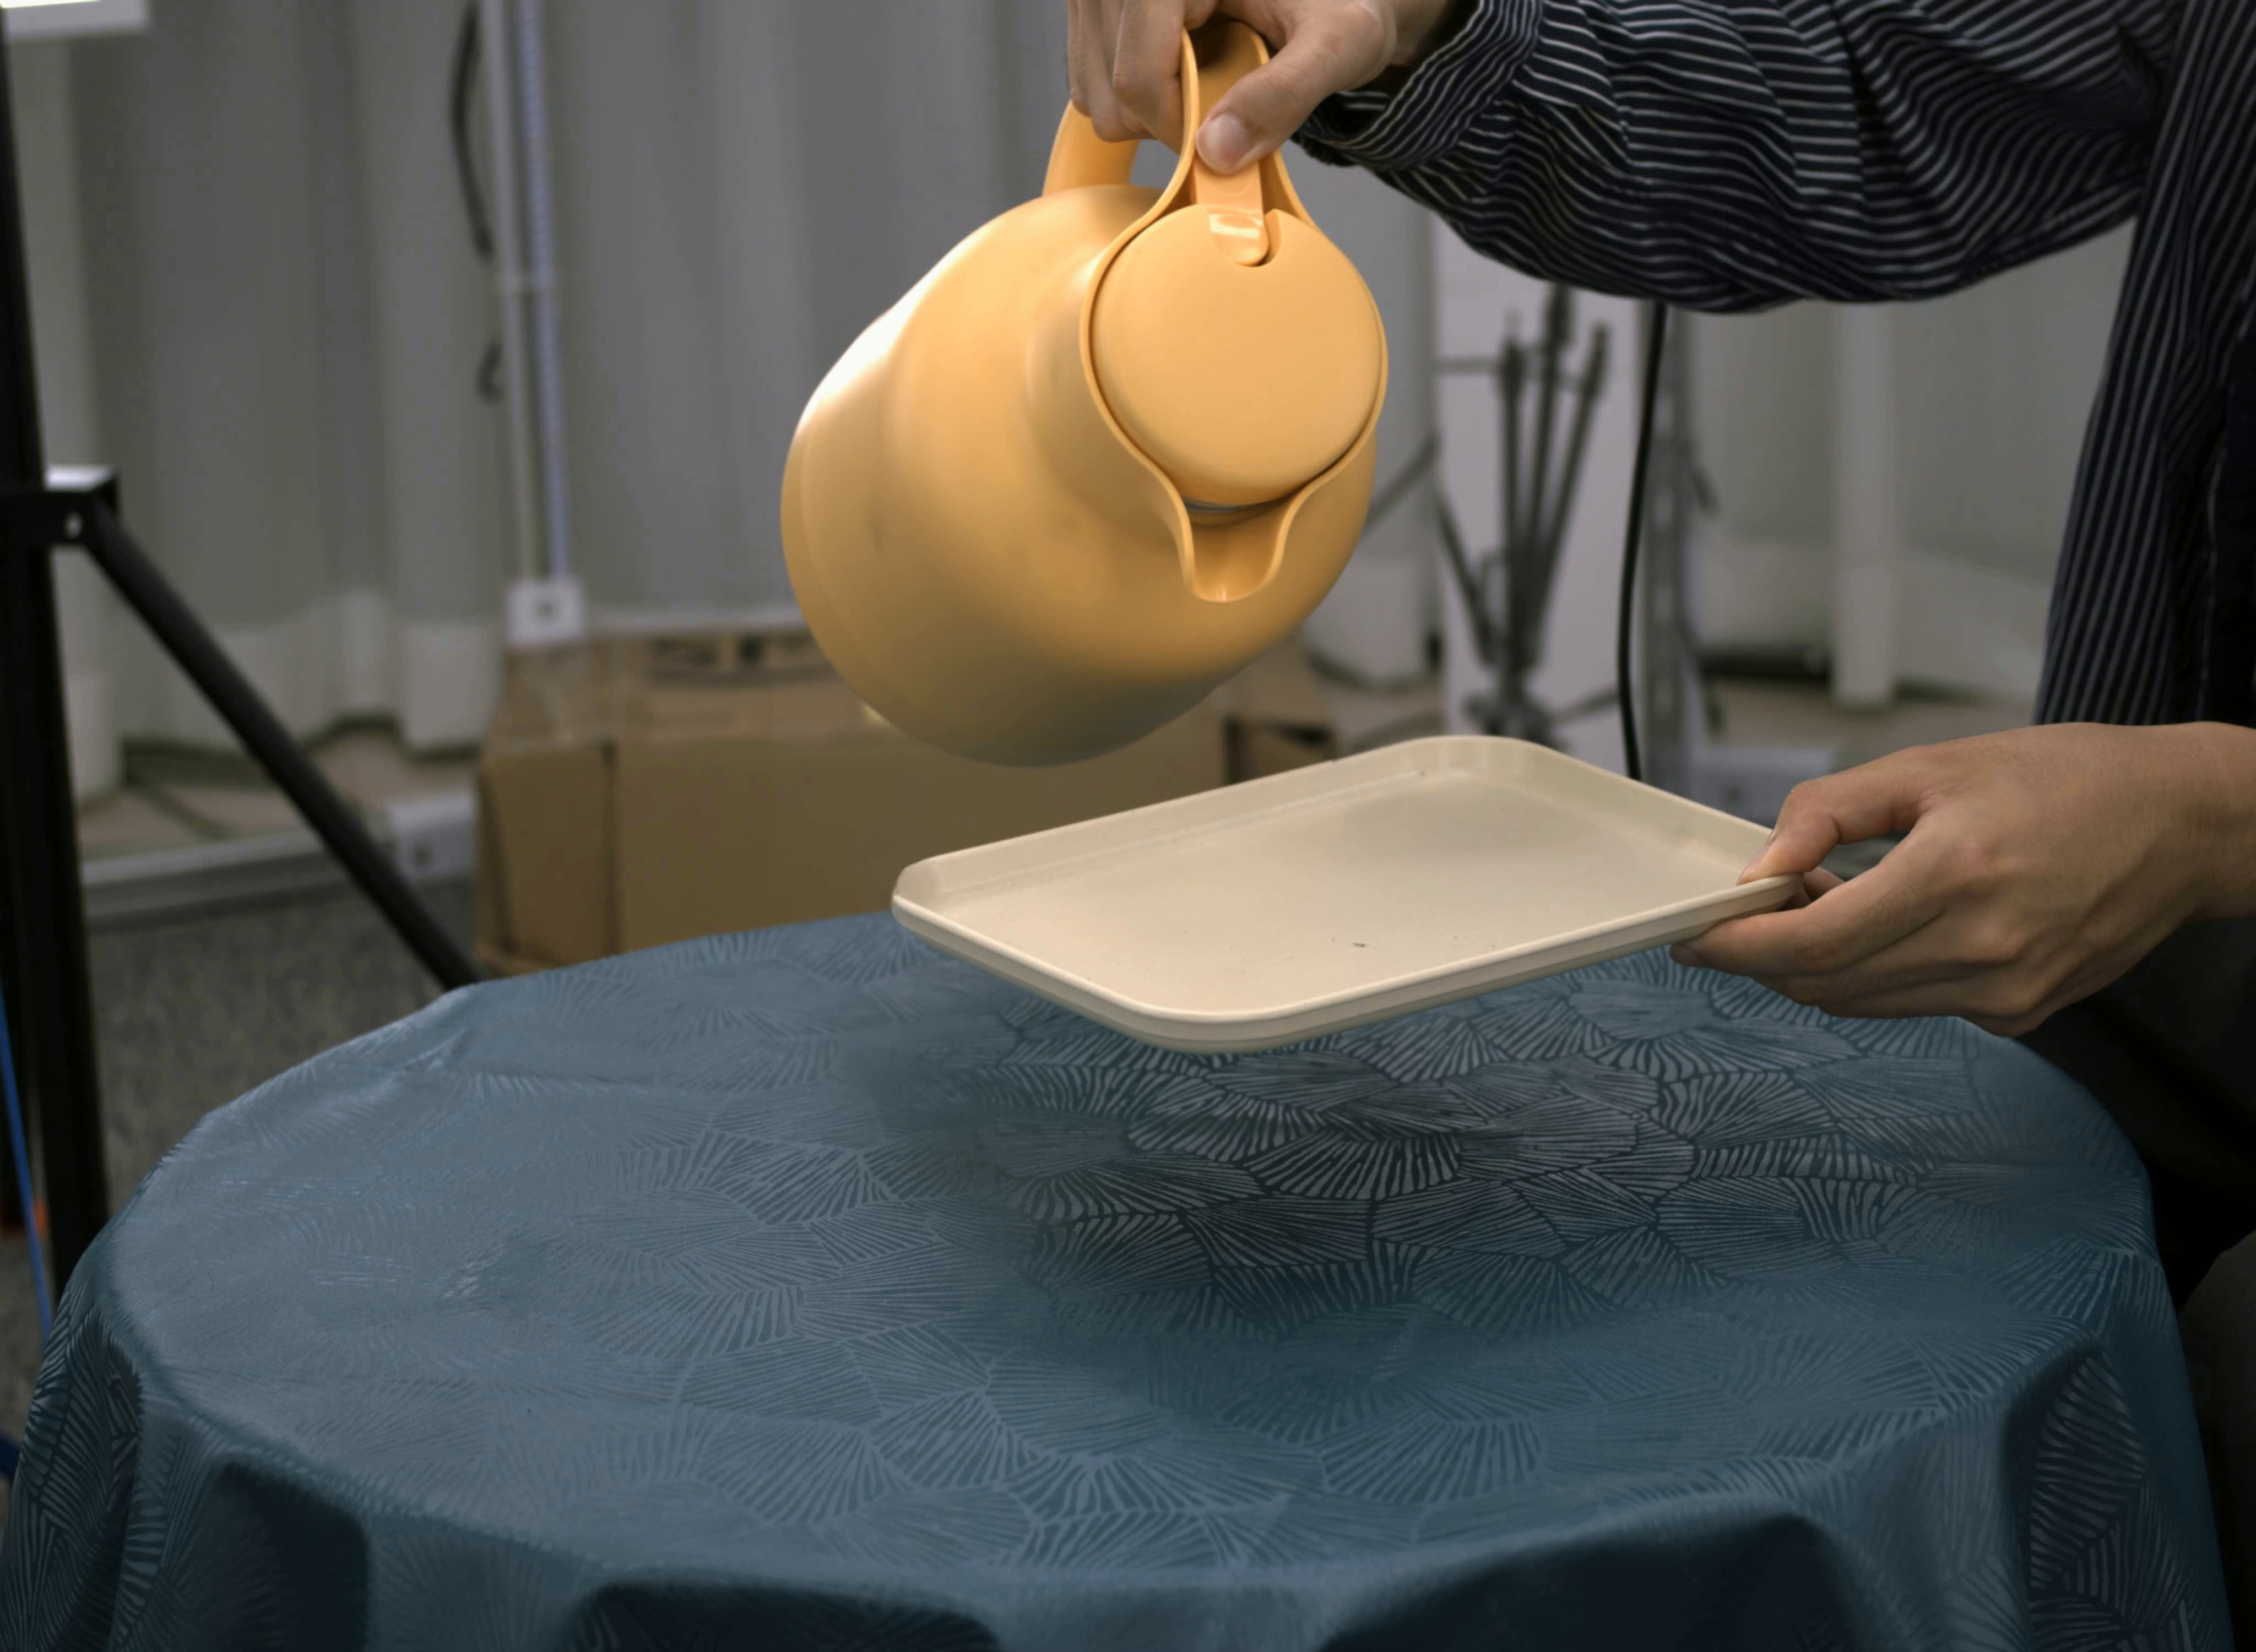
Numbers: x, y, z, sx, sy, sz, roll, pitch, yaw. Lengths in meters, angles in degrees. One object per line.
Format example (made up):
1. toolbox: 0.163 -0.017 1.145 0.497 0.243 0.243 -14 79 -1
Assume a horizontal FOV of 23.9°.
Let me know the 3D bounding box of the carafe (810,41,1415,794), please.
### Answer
1. carafe: 0.005 -0.128 1.684 0.160 0.204 0.263 3 -12 -19

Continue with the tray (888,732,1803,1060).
1. tray: 0.064 0.019 1.539 0.234 0.017 0.175 -13 22 -33
